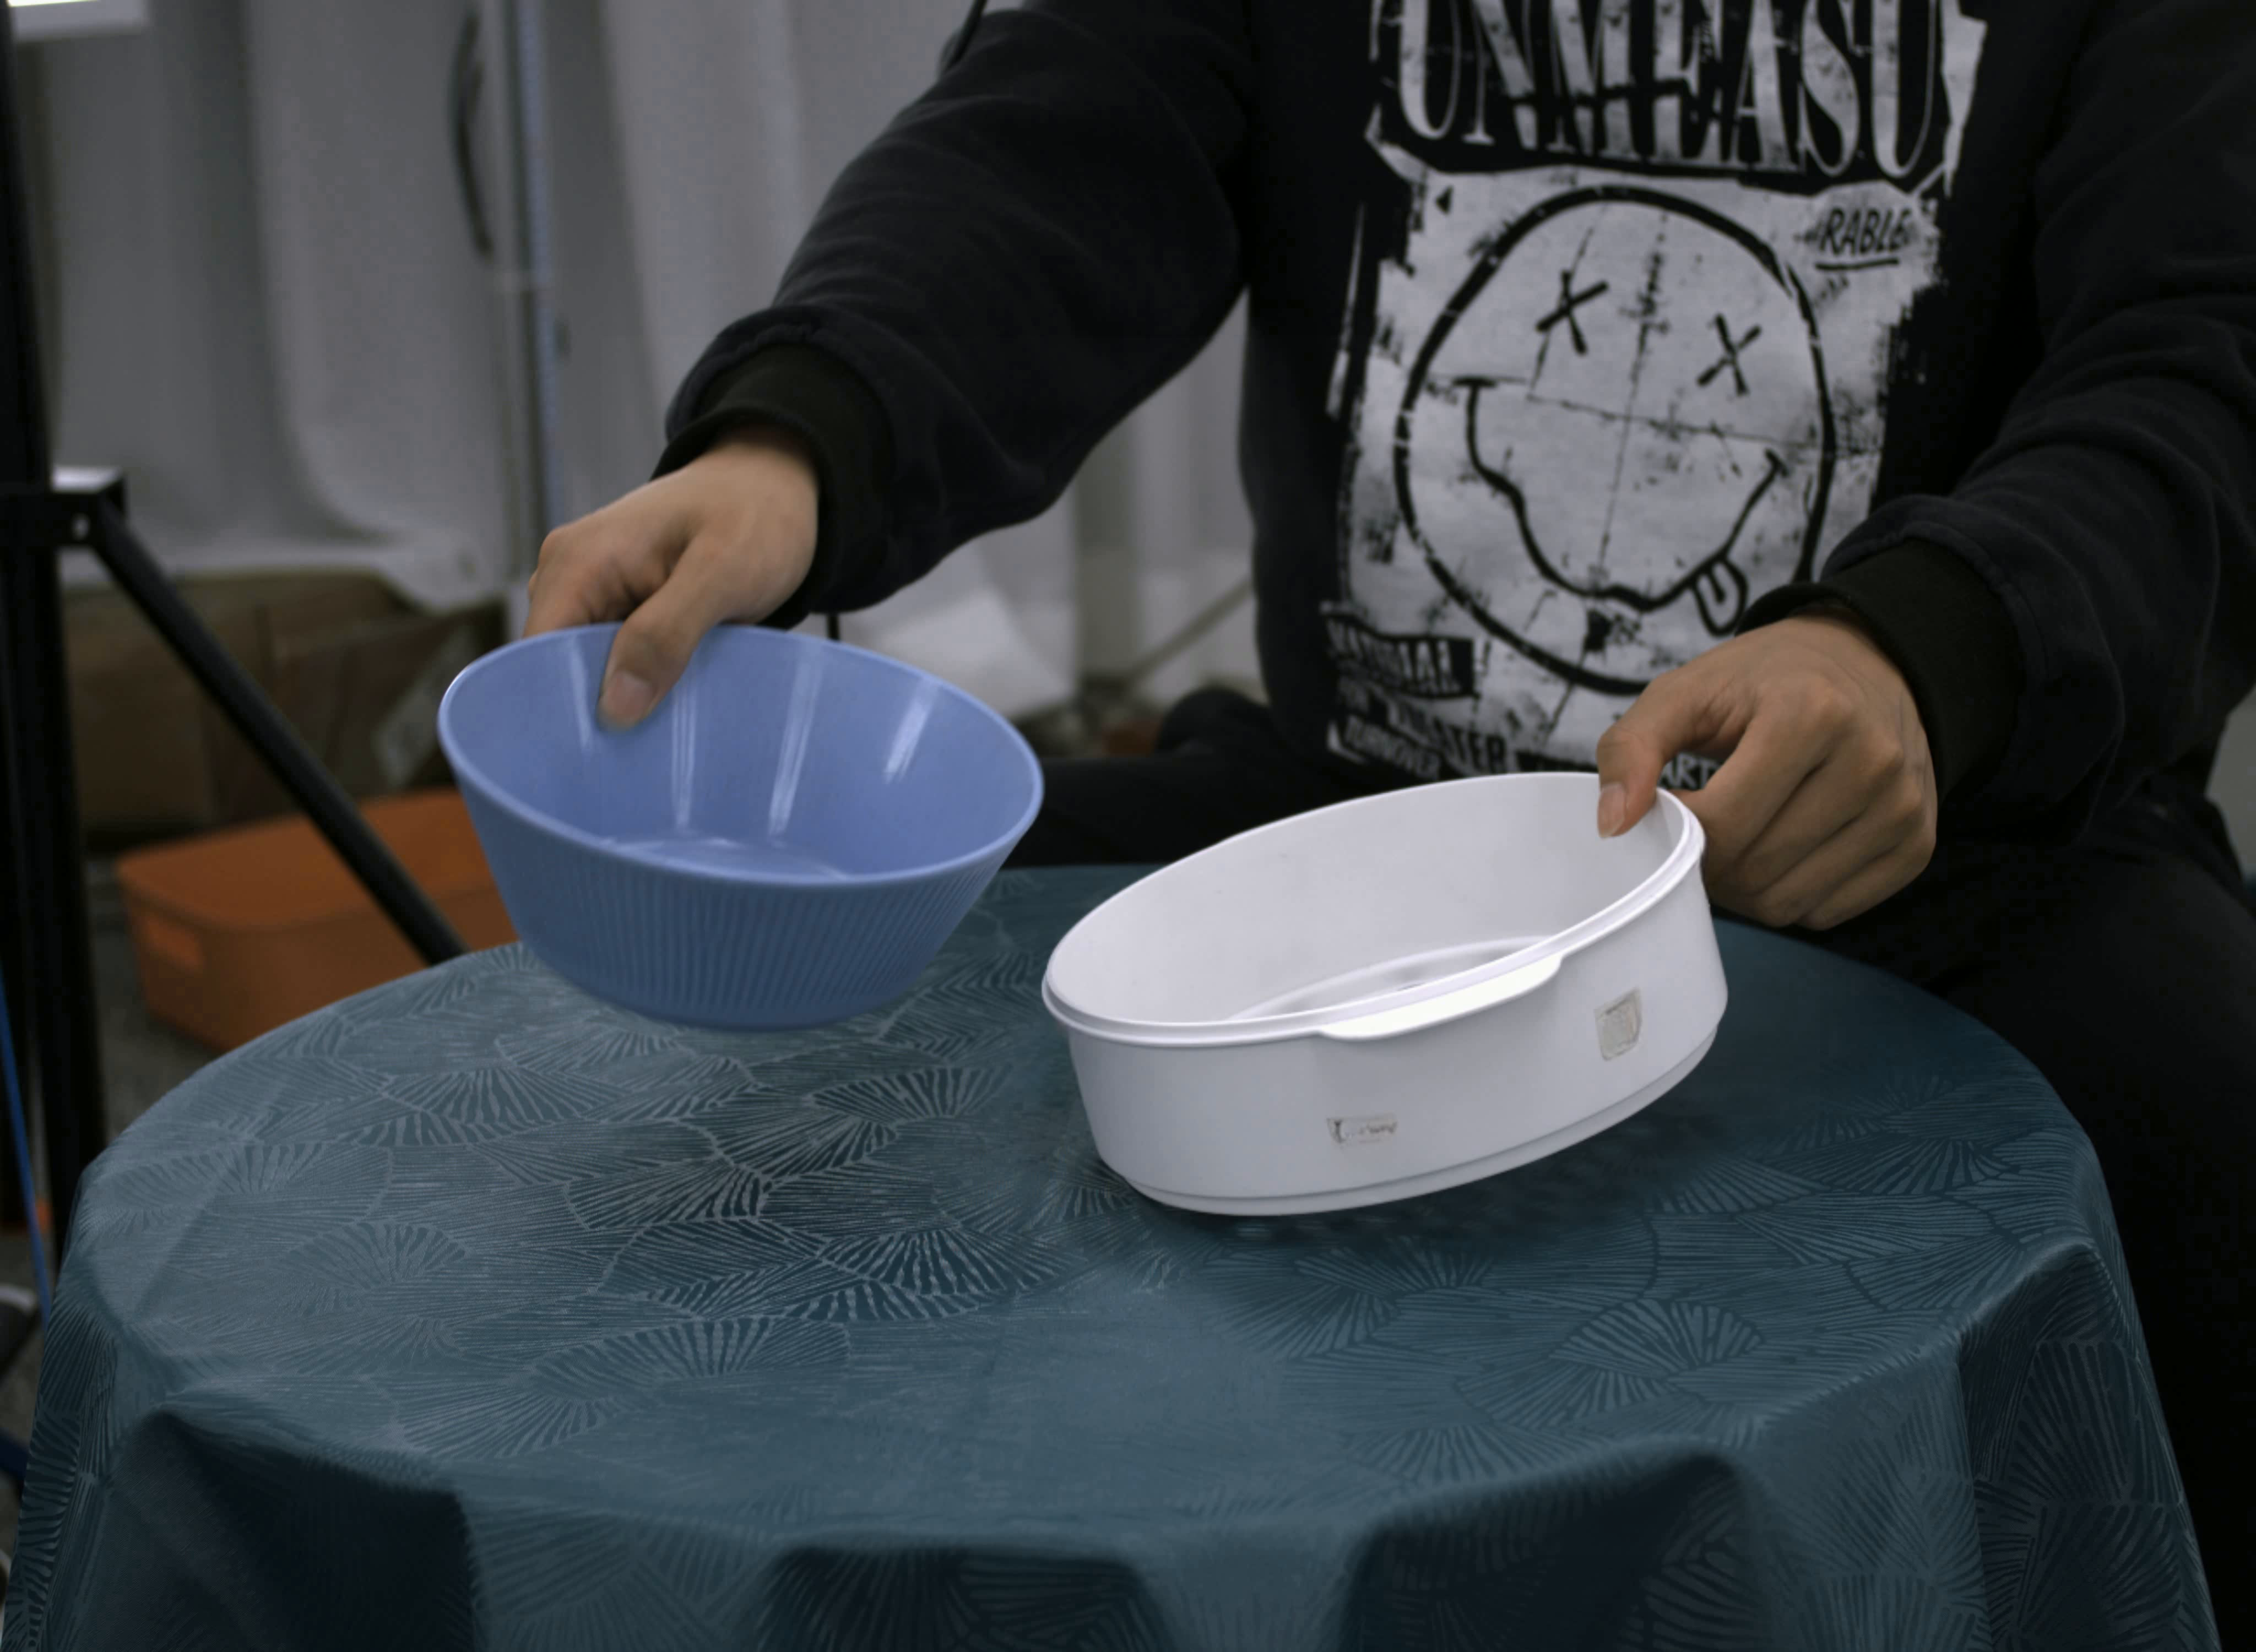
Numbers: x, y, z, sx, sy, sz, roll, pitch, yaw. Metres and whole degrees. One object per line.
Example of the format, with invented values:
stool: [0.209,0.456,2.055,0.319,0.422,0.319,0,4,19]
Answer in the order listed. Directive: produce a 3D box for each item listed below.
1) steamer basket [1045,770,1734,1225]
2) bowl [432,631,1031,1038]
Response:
steamer basket: [0.080,0.051,1.566,0.200,0.069,0.233,-16,18,-5]
bowl: [-0.119,0.007,1.559,0.174,0.070,0.177,7,24,-5]
